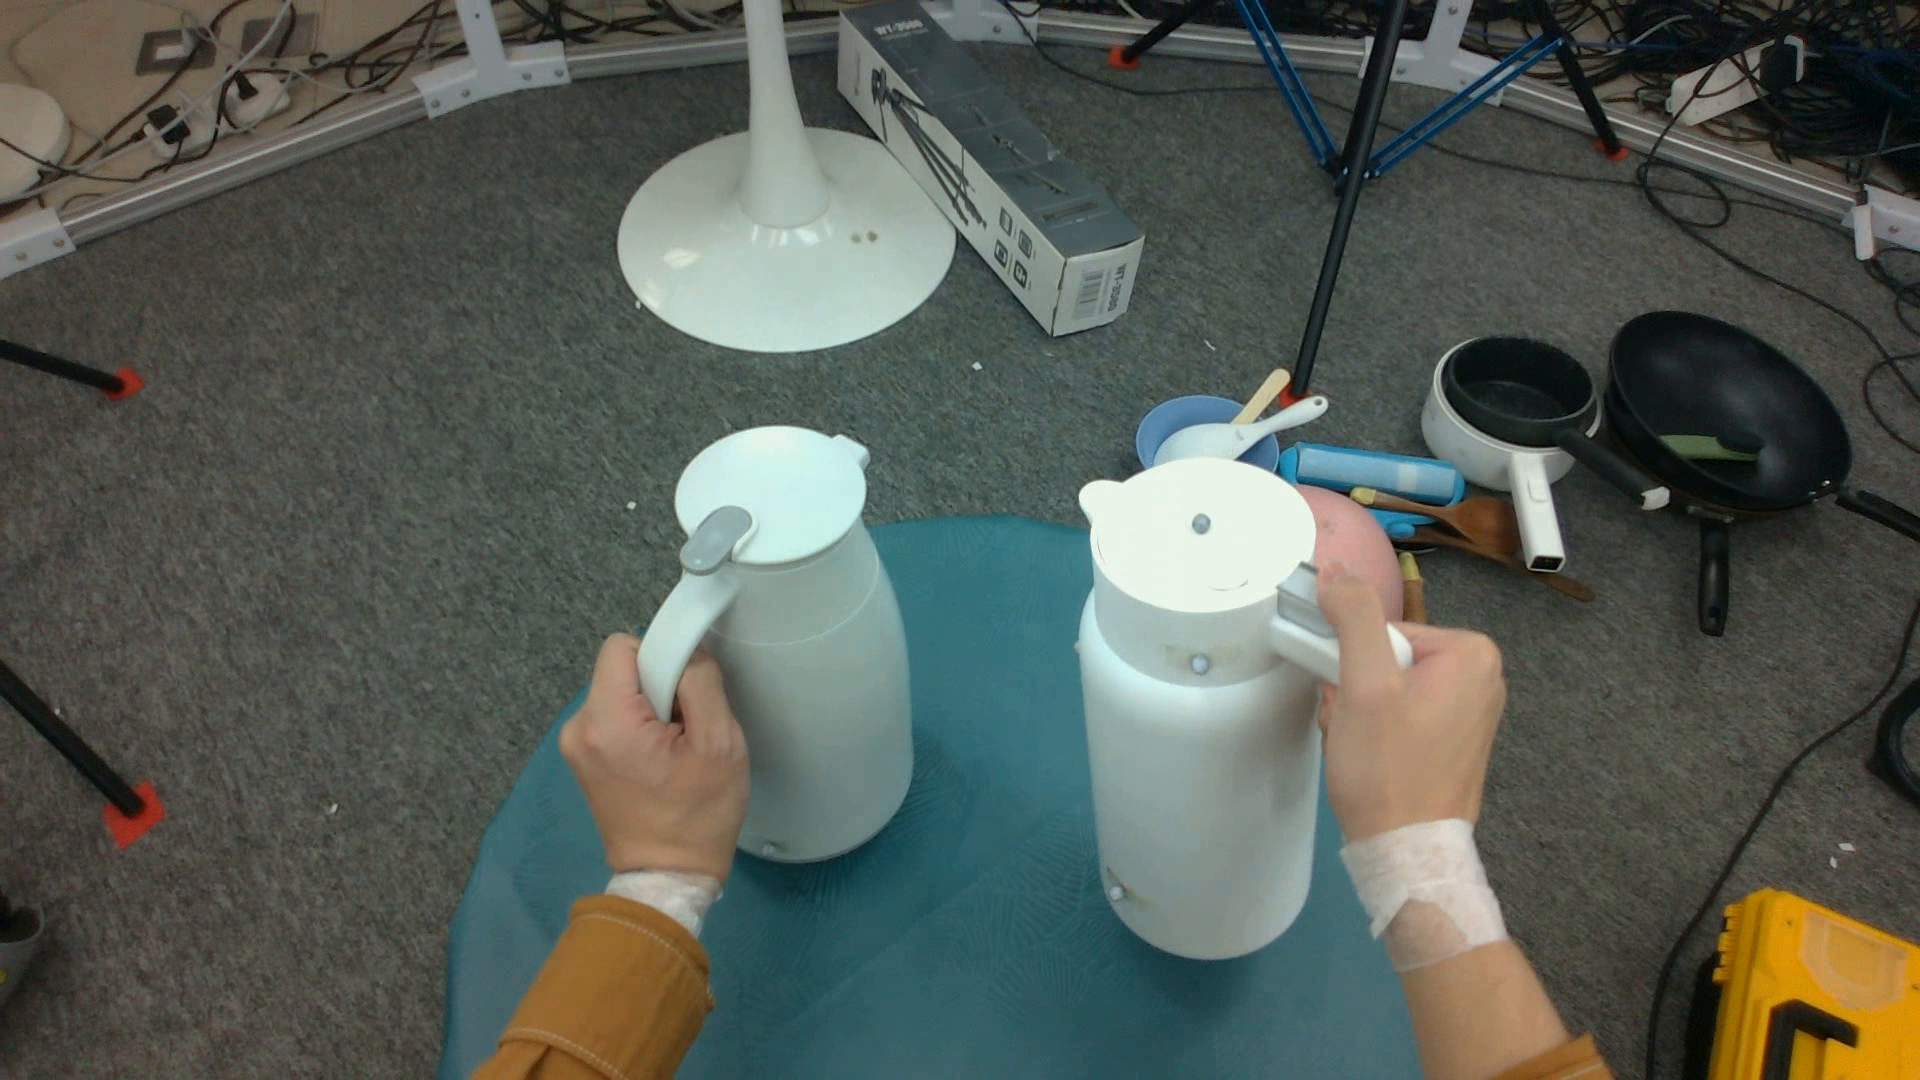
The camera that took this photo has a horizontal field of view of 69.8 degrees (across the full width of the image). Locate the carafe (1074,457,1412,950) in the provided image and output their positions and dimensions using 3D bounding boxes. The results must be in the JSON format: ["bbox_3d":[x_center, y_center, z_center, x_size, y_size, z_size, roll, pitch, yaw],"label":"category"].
[{"bbox_3d":[0.134,0.096,0.688,0.173,0.267,0.124,29,52,33],"label":"carafe"}]

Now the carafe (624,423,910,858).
[{"bbox_3d":[-0.106,0.065,0.737,0.132,0.247,0.168,26,53,22],"label":"carafe"}]
